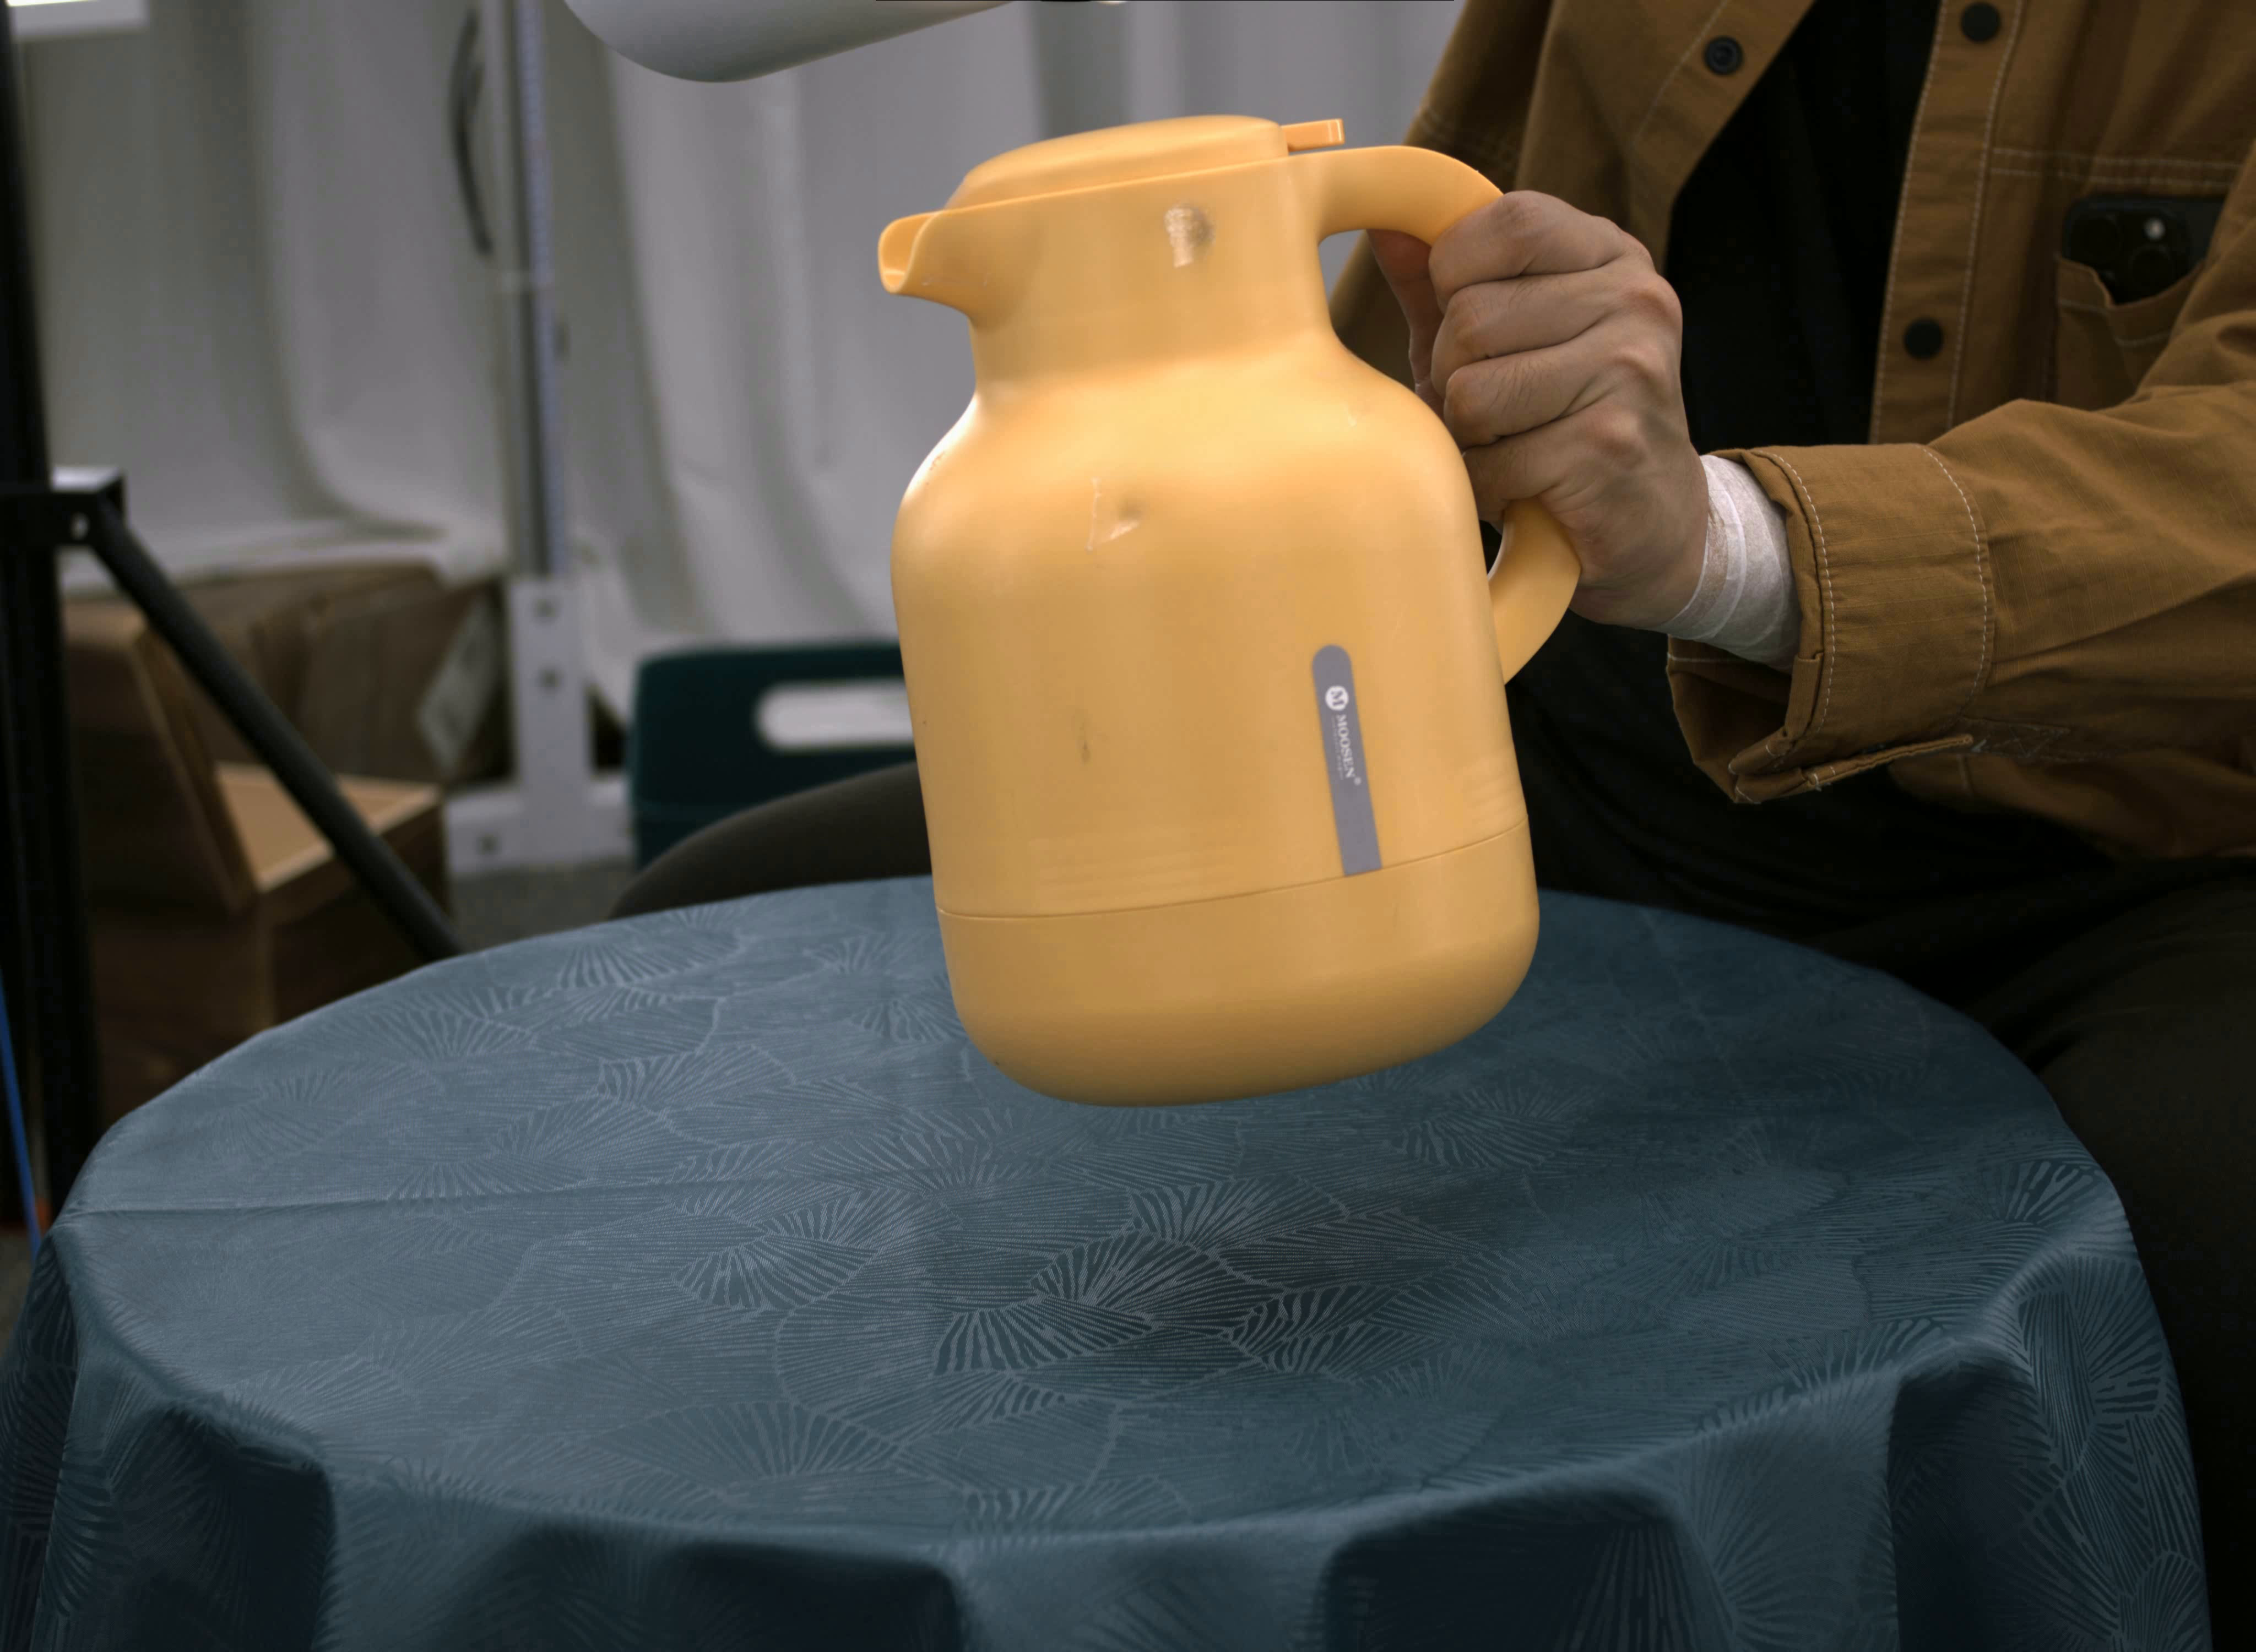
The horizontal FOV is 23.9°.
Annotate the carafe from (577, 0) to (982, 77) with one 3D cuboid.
[{"bbox_3d":[-0.084,-0.302,1.531,0.122,0.172,0.273,-30,11,-19],"label":"carafe"}]

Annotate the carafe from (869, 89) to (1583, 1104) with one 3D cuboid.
[{"bbox_3d":[0.035,-0.068,1.442,0.198,0.260,0.166,-13,10,-22],"label":"carafe"}]
